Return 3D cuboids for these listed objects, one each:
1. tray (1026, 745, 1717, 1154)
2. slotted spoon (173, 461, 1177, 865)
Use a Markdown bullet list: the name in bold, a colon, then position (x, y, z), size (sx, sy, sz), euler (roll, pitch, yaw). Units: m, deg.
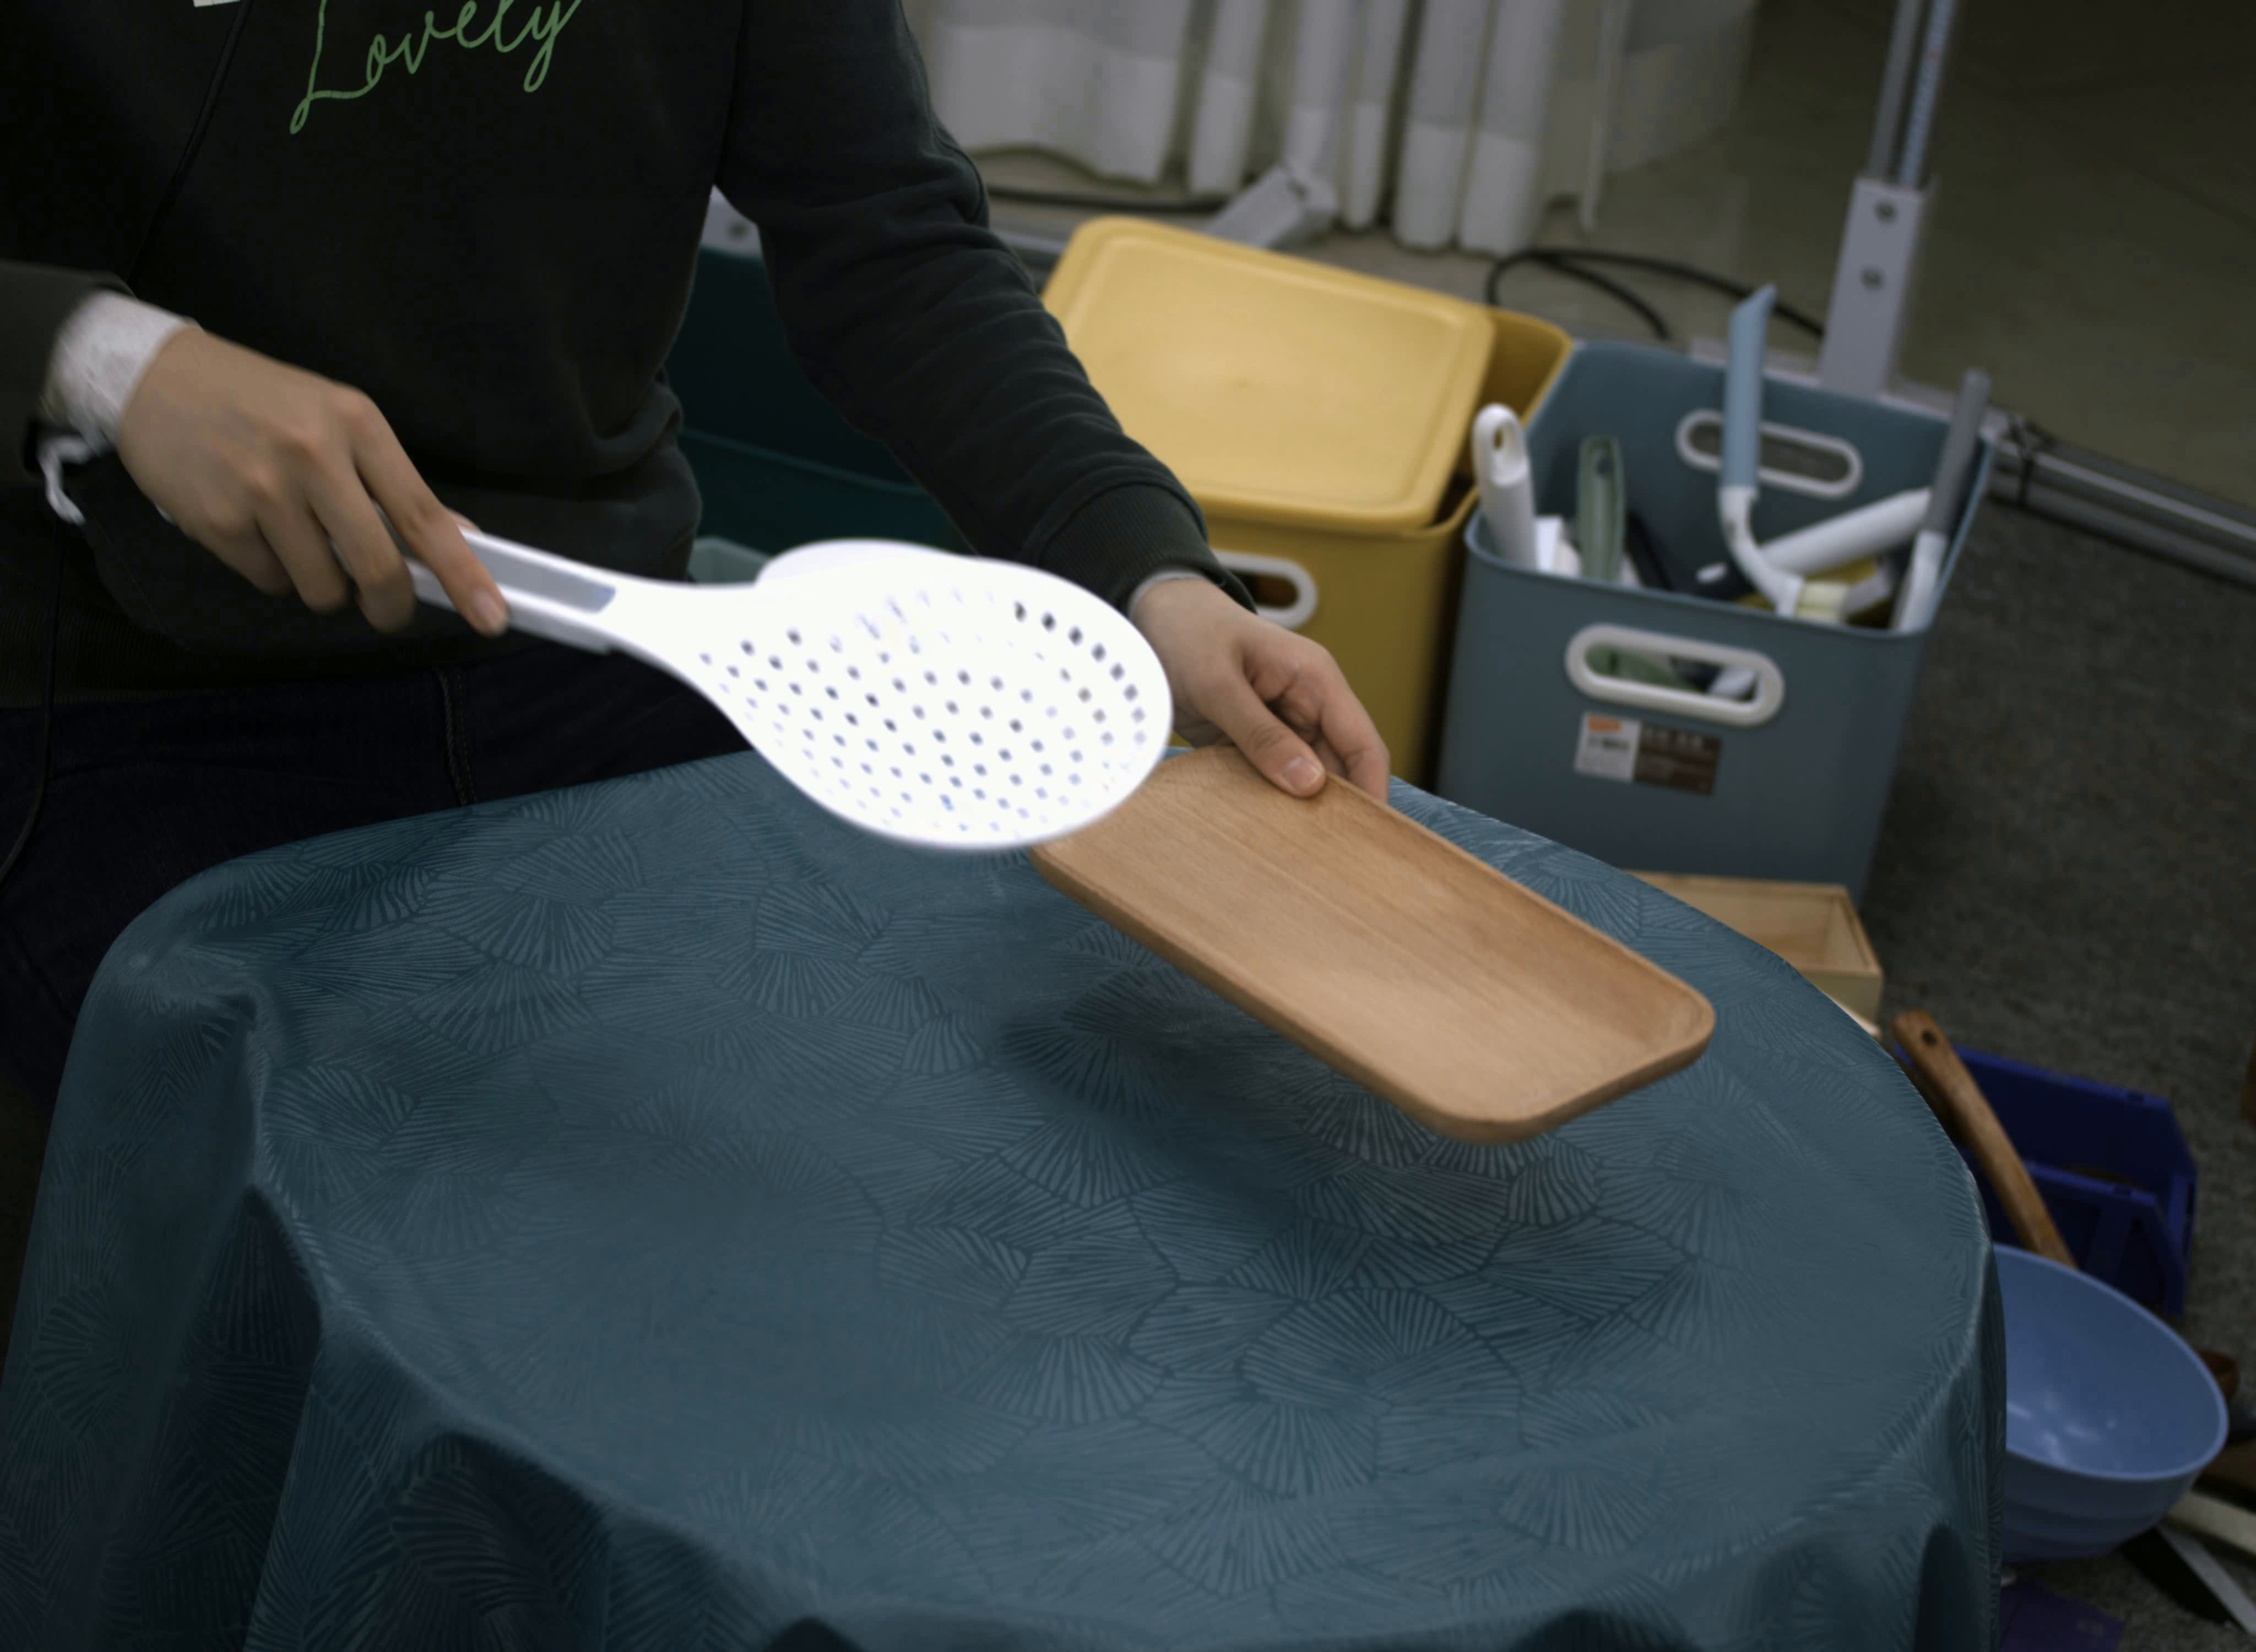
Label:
- **tray**: position (0.081, 0.040, 1.843), size (0.130, 0.023, 0.253), euler (-18, 35, -36)
- **slotted spoon**: position (-0.153, -0.062, 1.752), size (0.350, 0.045, 0.136), euler (20, 44, 9)
